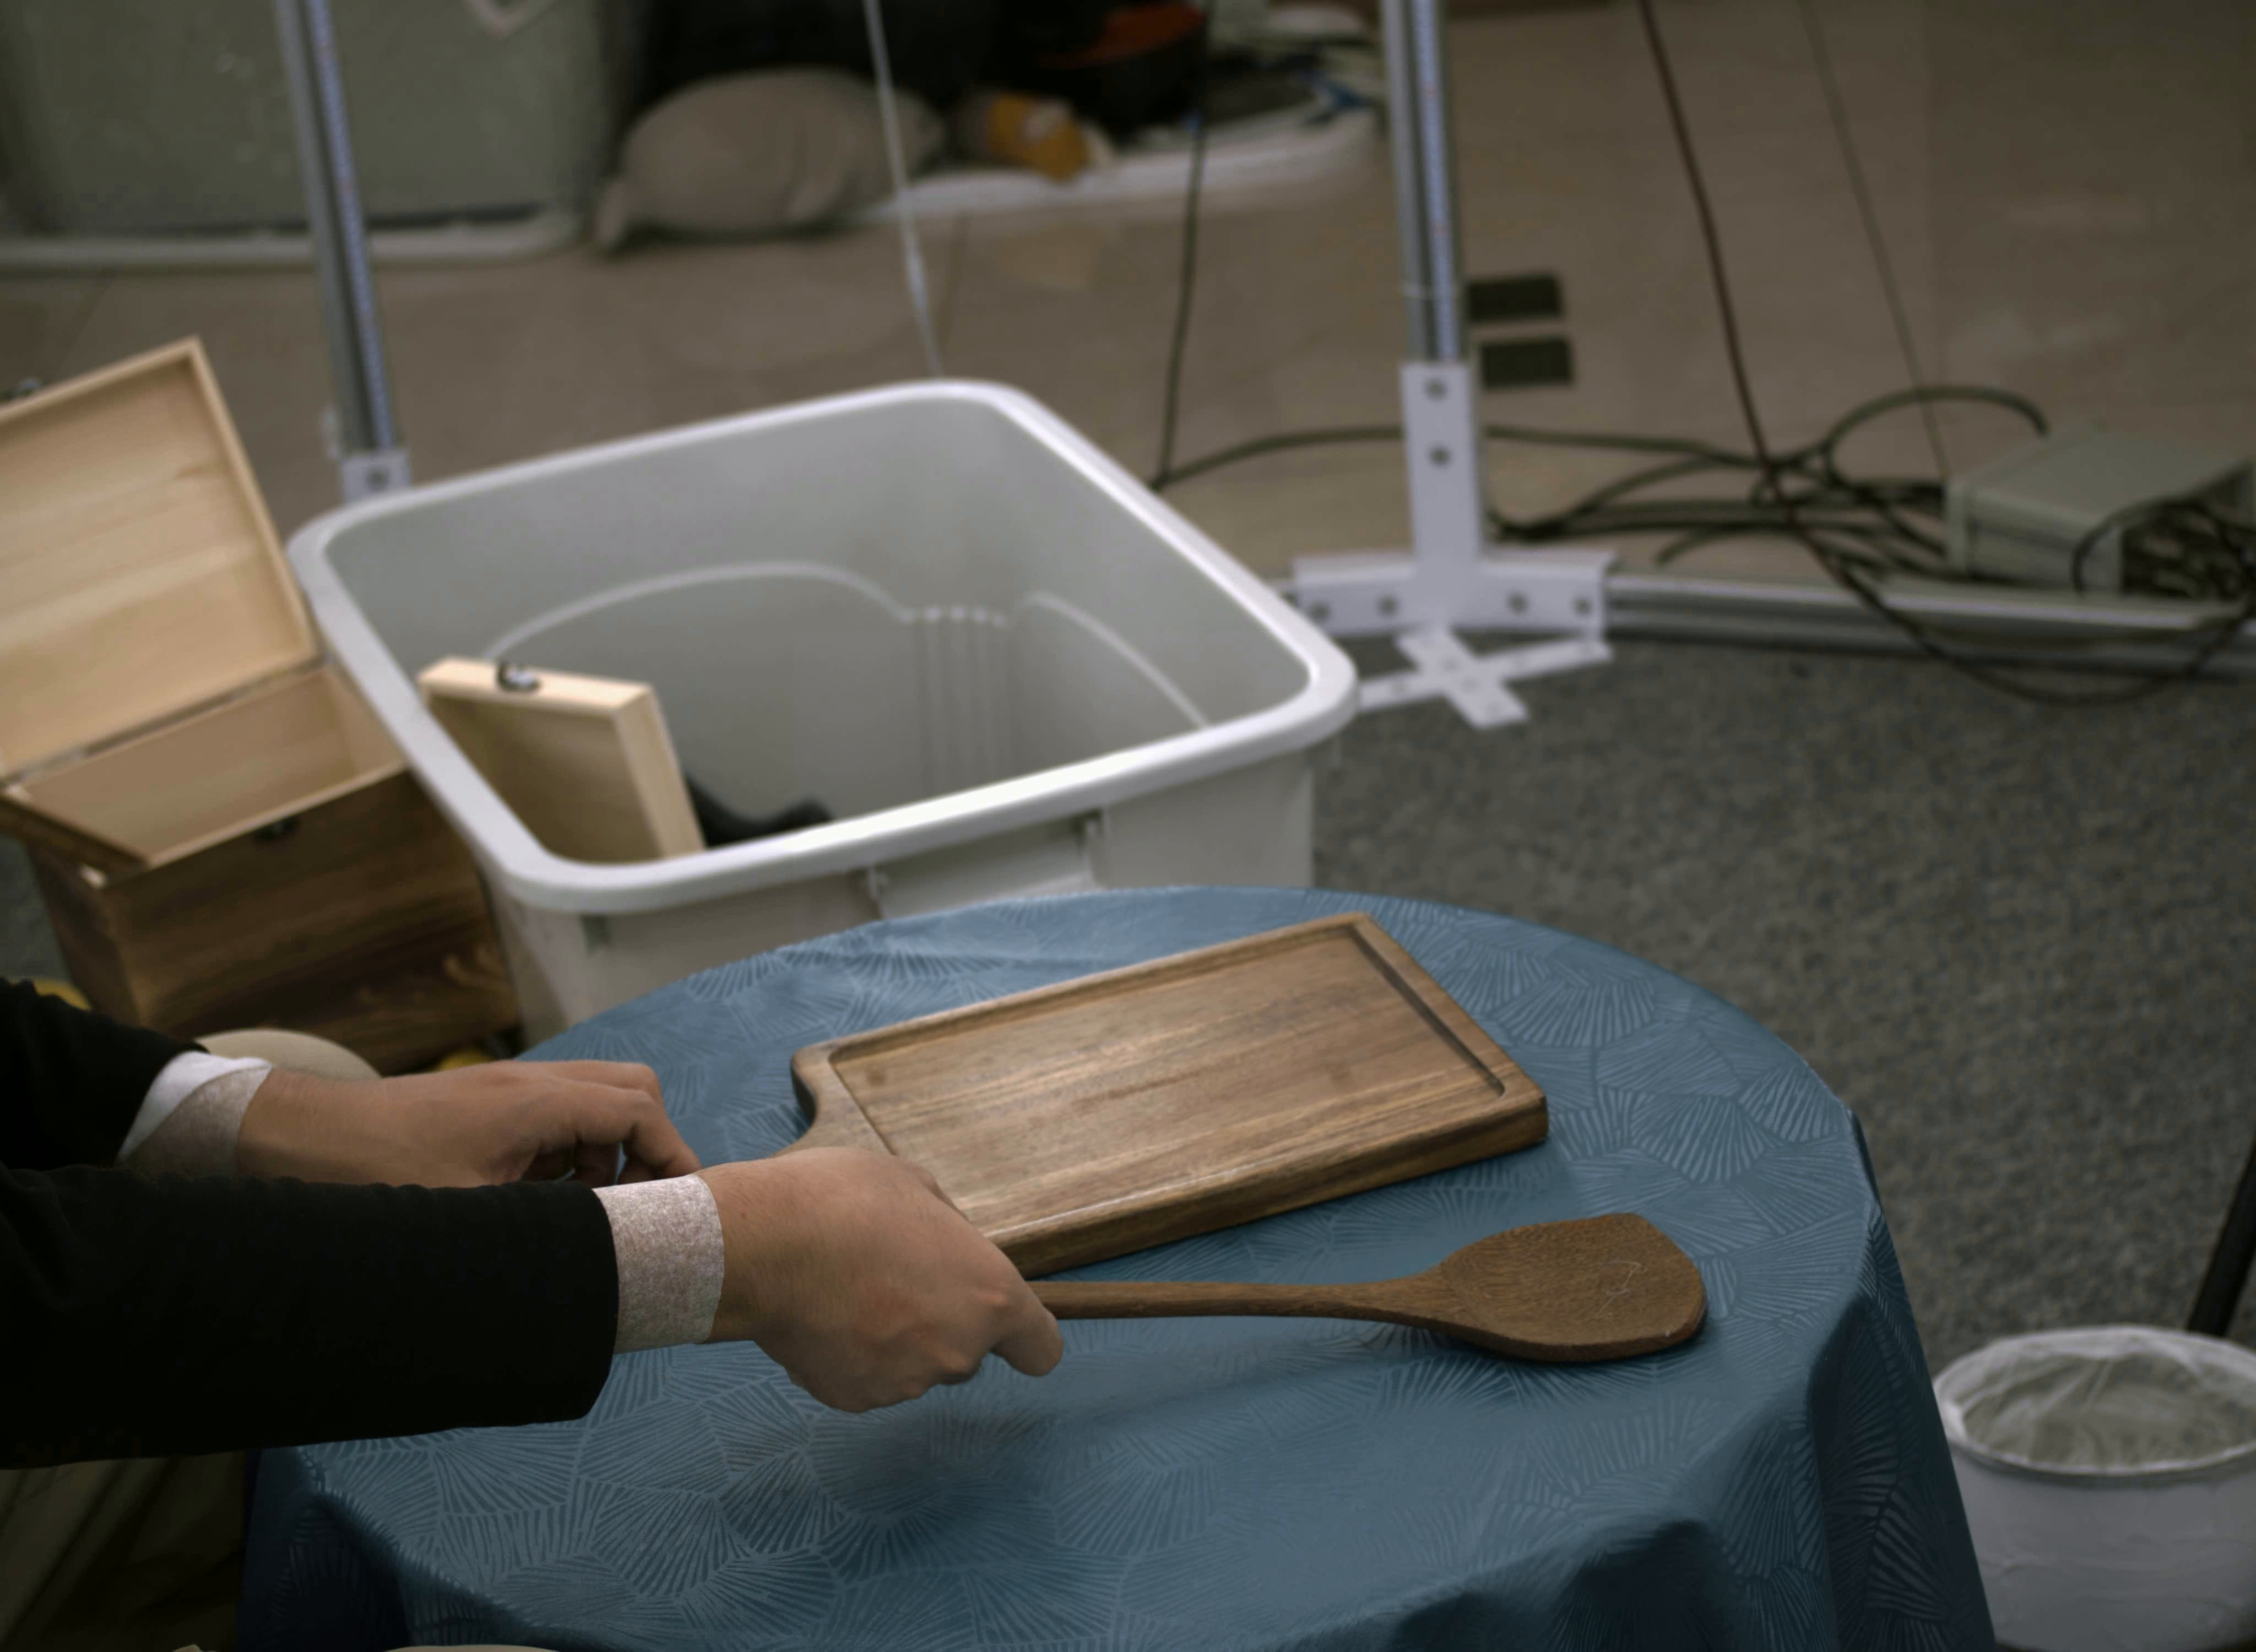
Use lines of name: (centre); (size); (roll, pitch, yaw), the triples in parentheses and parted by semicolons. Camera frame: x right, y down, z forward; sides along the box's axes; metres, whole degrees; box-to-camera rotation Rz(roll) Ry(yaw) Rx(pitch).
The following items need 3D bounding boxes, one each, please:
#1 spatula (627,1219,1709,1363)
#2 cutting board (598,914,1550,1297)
spatula: (0.015, 0.168, 2.007); (0.385, 0.016, 0.095); (-1, 24, -11)
cutting board: (-0.034, 0.115, 2.183); (0.351, 0.023, 0.198); (-14, 26, -15)
